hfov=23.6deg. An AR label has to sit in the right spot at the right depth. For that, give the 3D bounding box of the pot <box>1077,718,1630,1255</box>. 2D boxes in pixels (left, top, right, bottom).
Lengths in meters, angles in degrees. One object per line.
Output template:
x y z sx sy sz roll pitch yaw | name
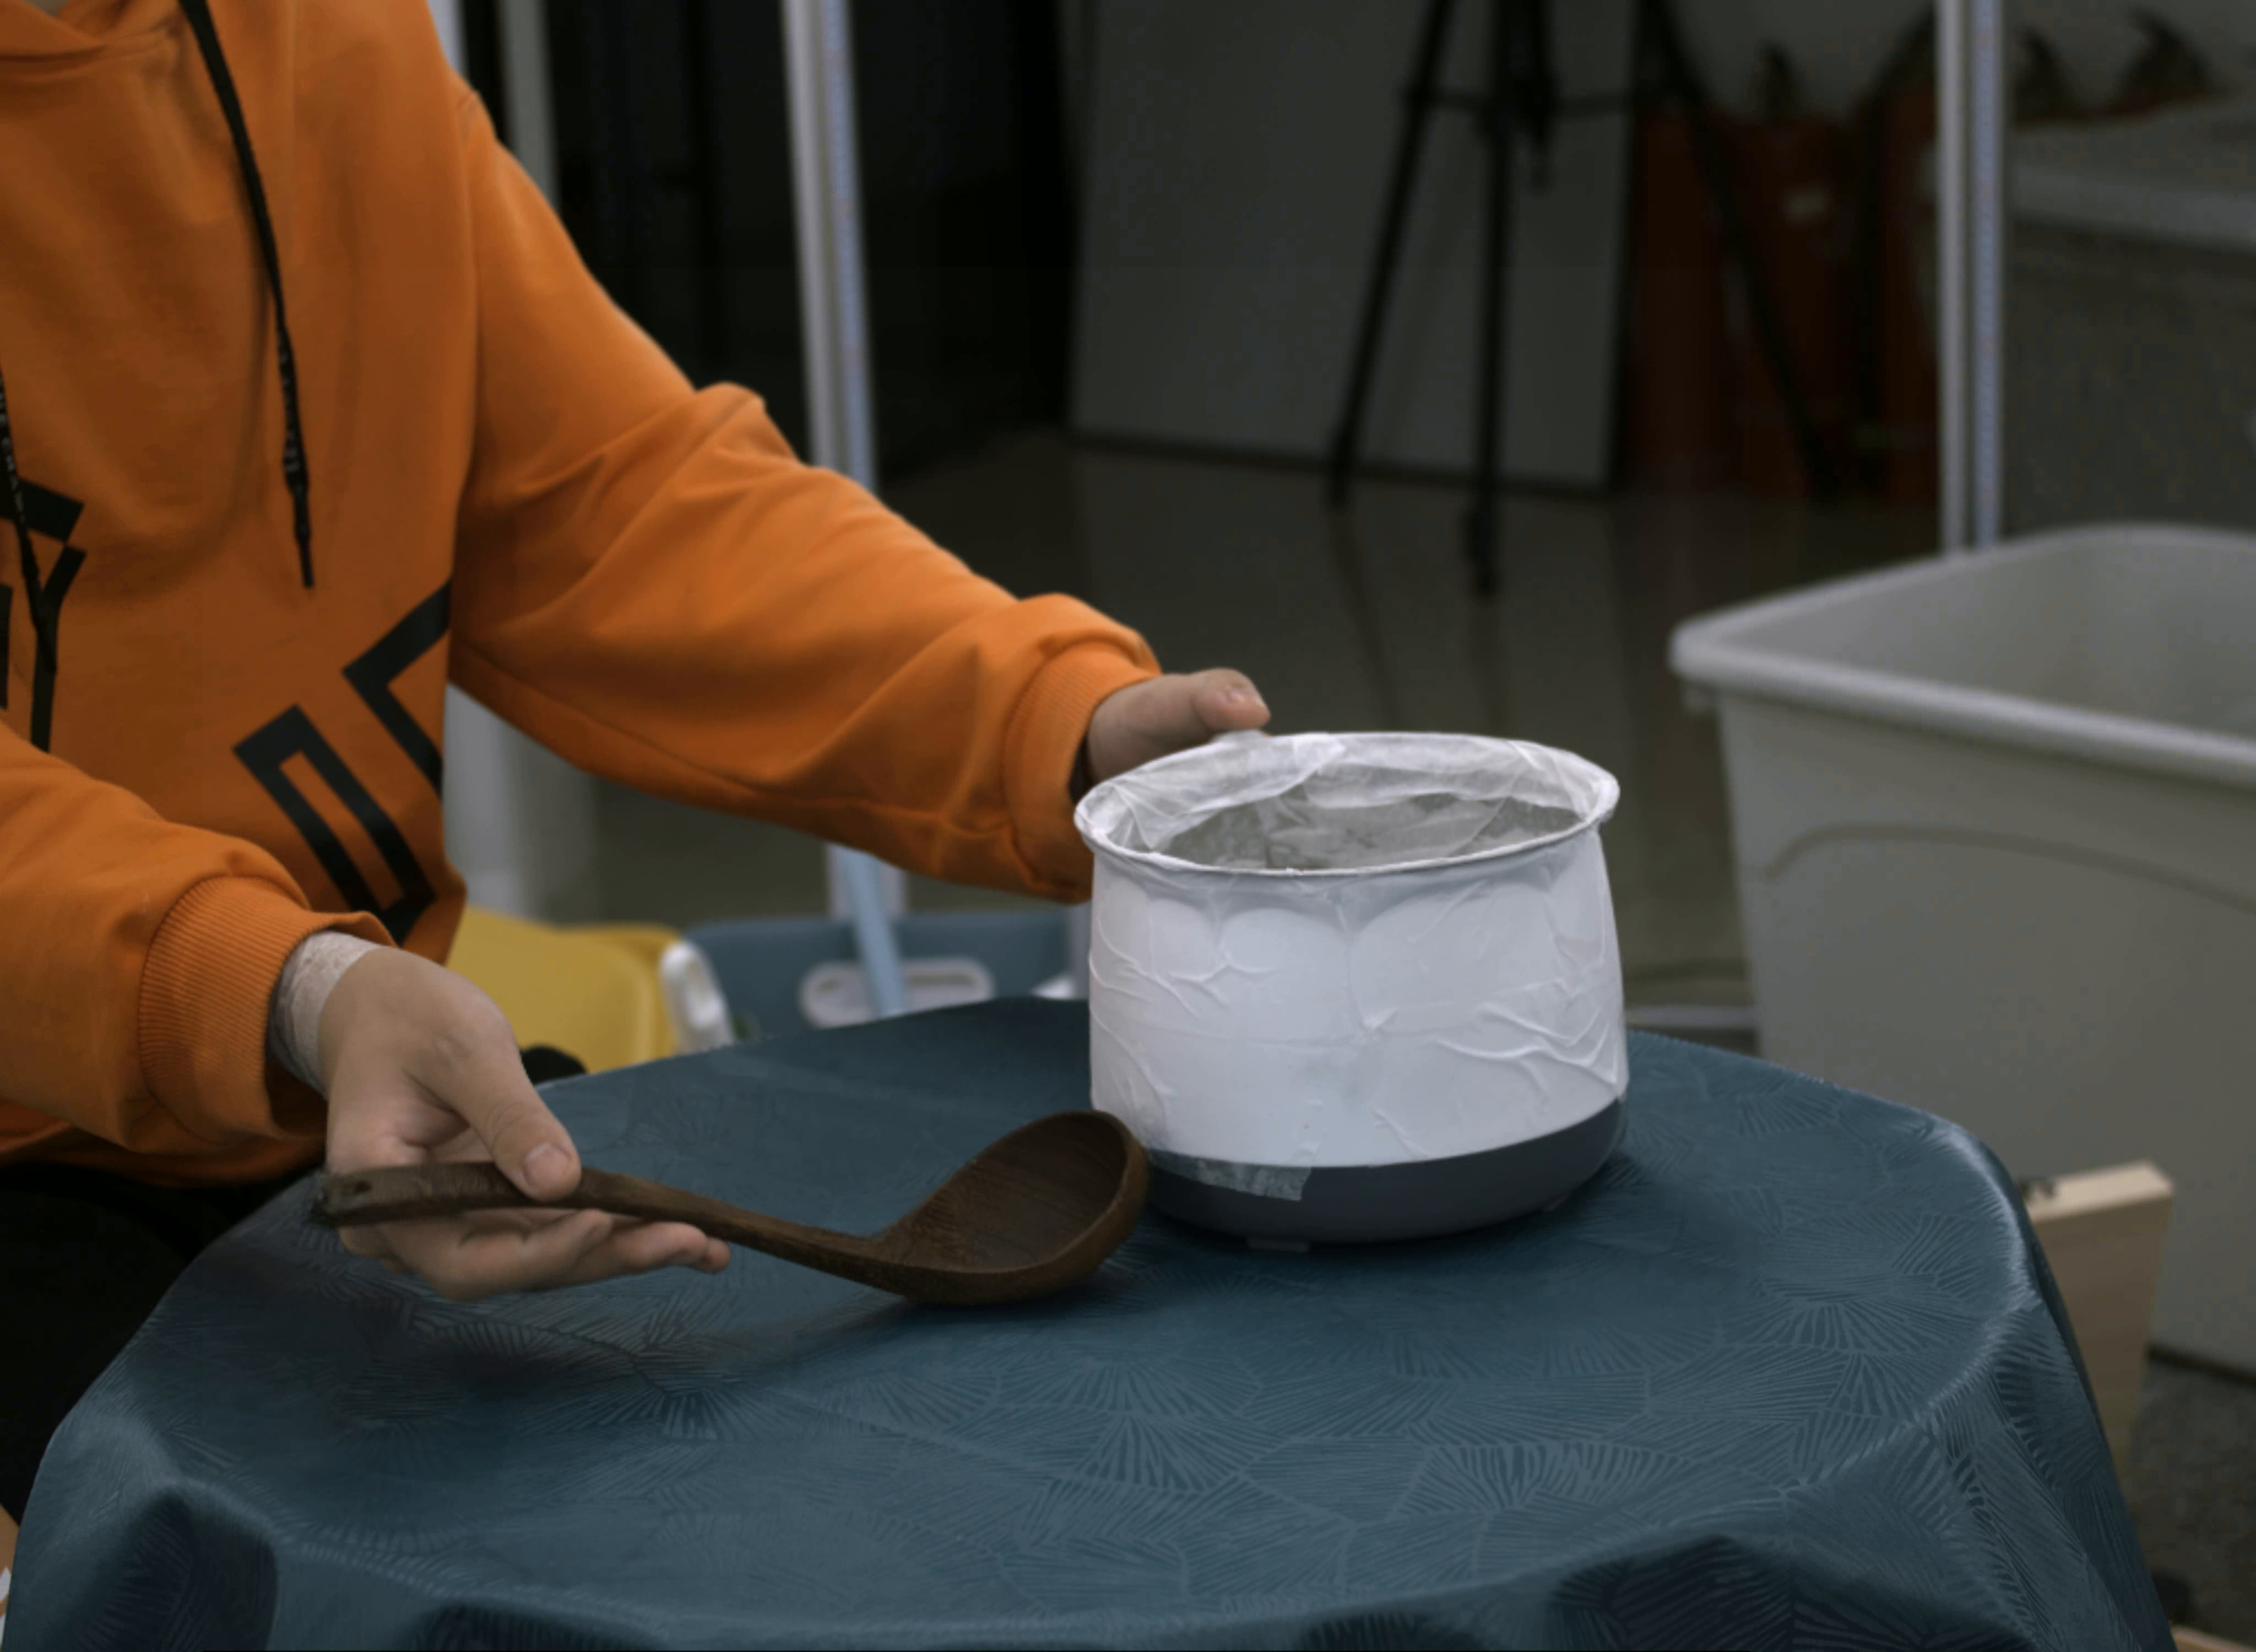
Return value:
0.064 0.046 1.768 0.175 0.138 0.236 -8 14 -18 | pot

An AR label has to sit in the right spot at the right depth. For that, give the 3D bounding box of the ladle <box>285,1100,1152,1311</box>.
-0.118 0.103 1.629 0.268 0.072 0.077 10 11 -28 | ladle
